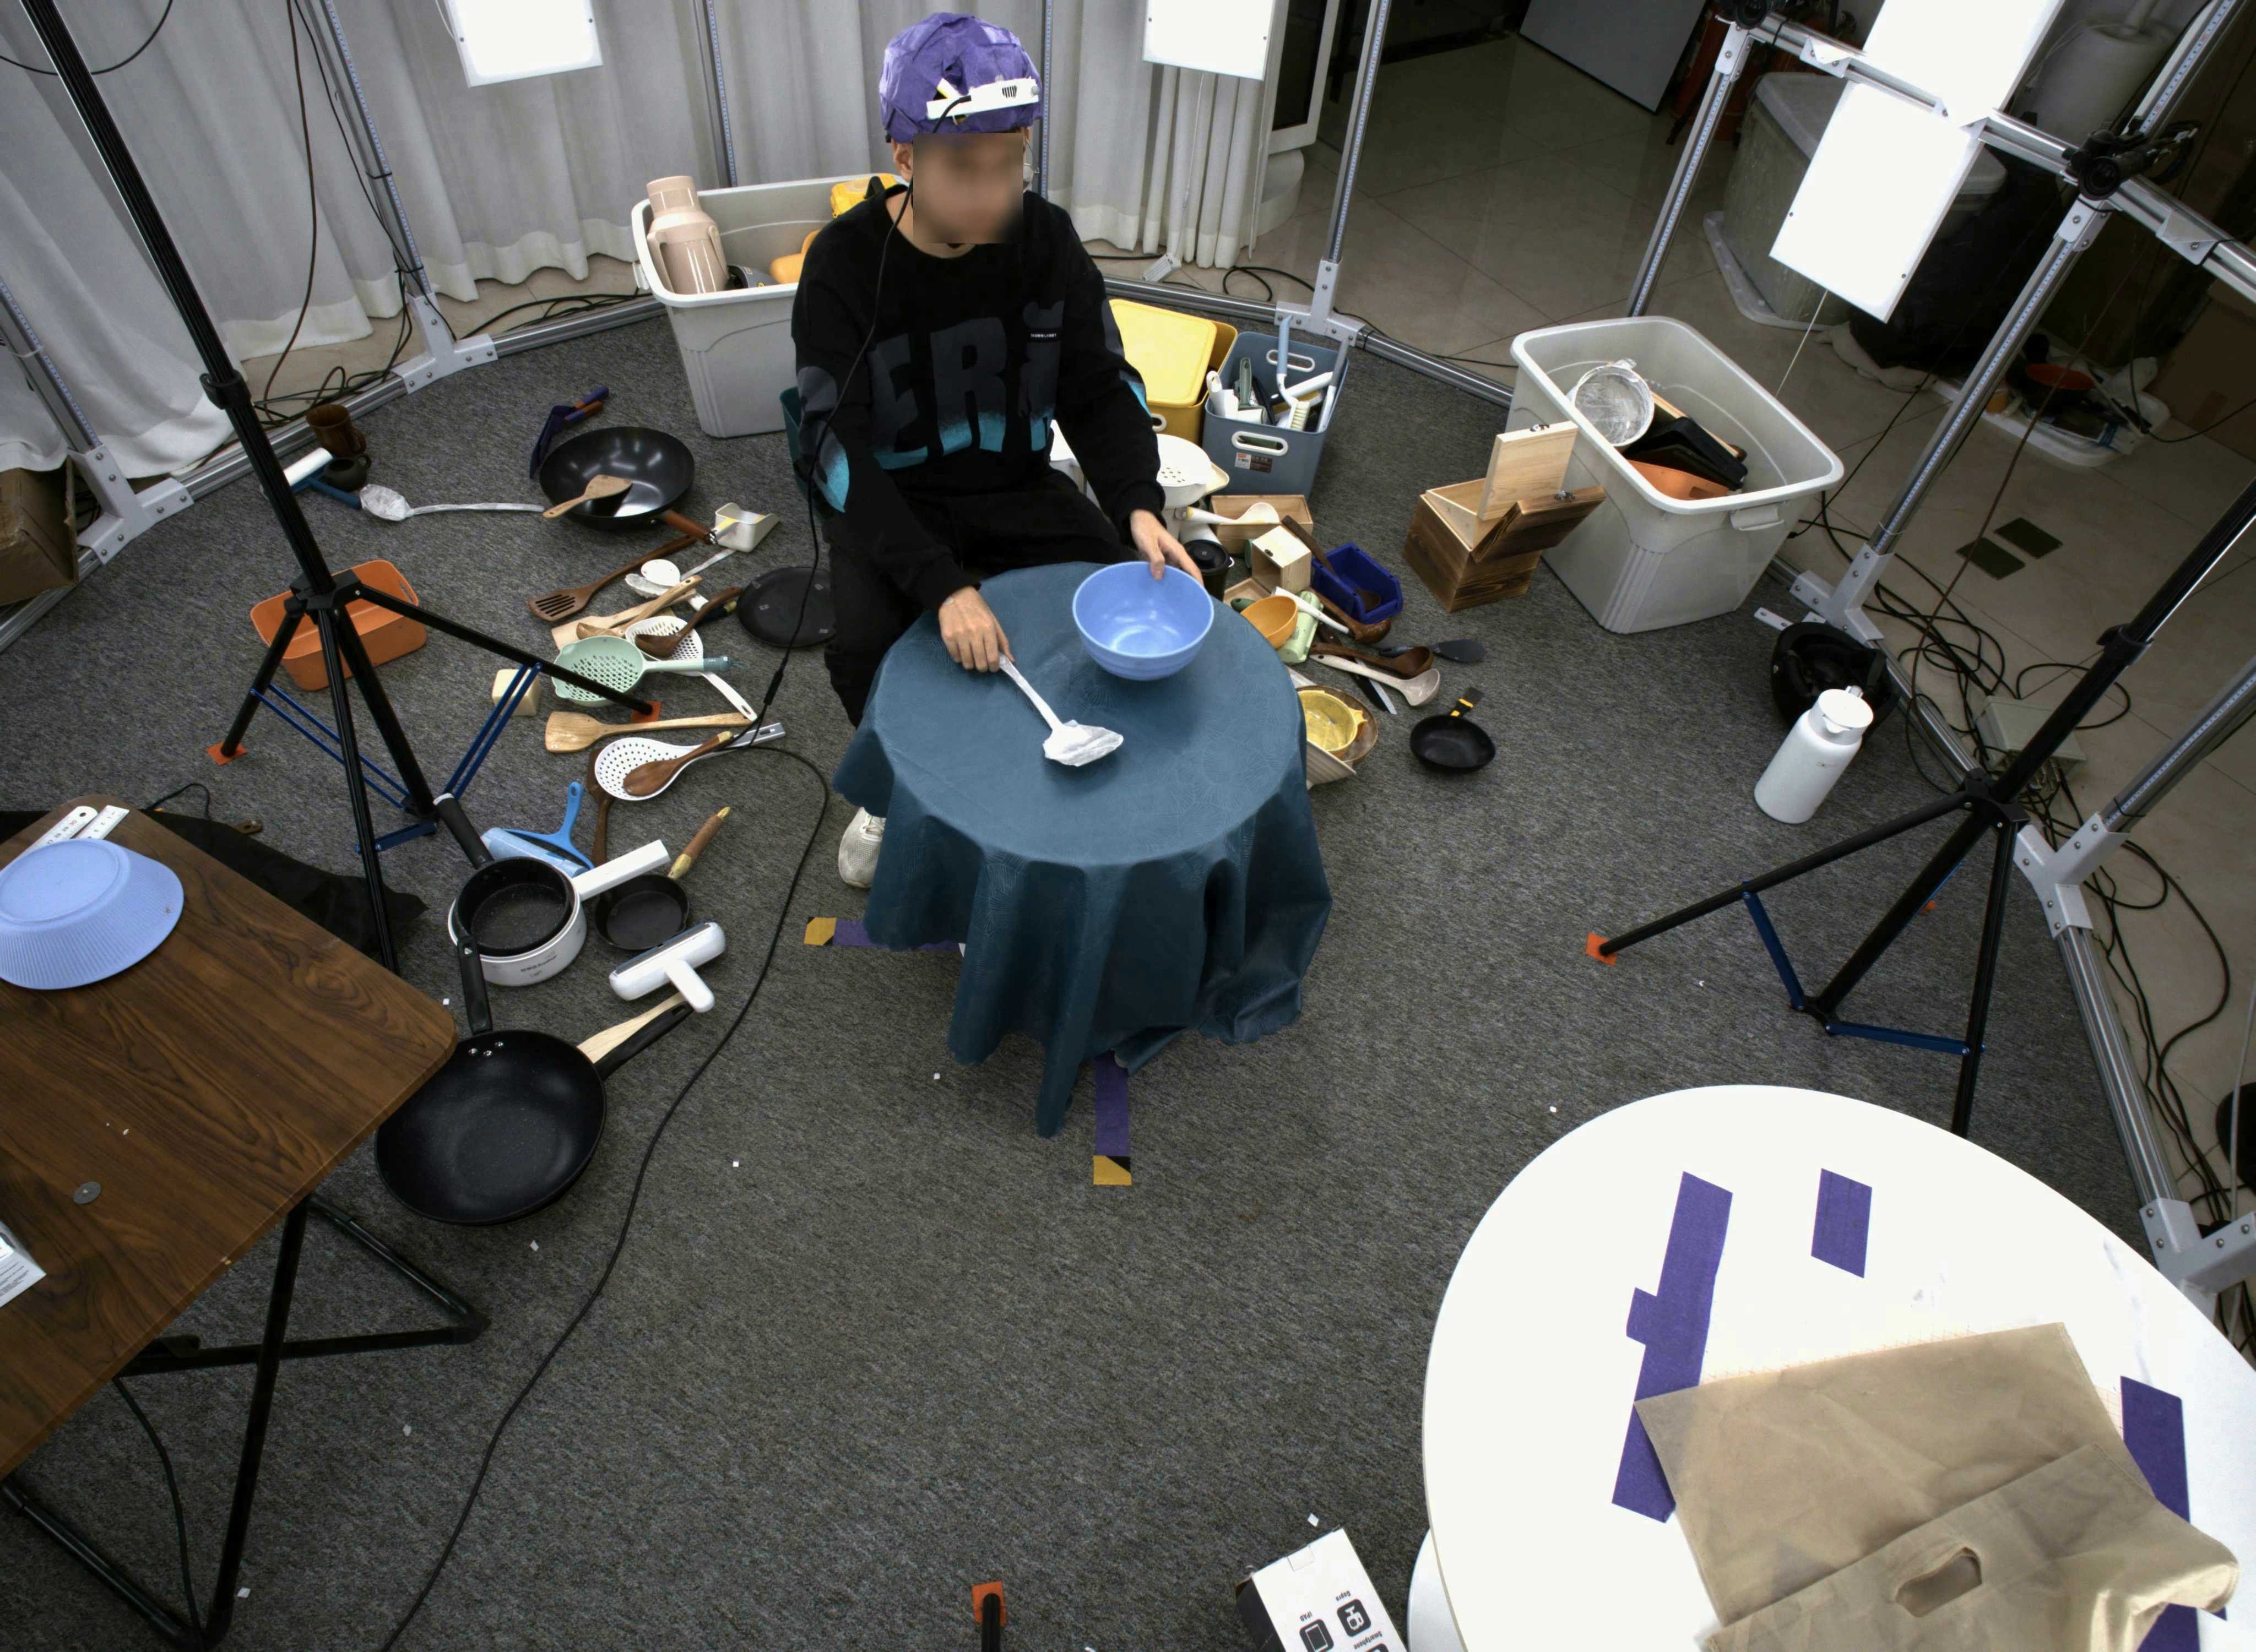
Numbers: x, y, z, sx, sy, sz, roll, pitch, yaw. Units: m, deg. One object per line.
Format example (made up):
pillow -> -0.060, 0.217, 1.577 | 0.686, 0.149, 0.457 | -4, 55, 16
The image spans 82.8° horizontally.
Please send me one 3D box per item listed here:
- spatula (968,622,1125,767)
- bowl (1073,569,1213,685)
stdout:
spatula -> -0.137, -0.198, 1.823 | 0.099, 0.043, 0.372 | -27, 56, -22
bowl -> 0.021, -0.269, 1.834 | 0.196, 0.093, 0.201 | 0, 49, 0
